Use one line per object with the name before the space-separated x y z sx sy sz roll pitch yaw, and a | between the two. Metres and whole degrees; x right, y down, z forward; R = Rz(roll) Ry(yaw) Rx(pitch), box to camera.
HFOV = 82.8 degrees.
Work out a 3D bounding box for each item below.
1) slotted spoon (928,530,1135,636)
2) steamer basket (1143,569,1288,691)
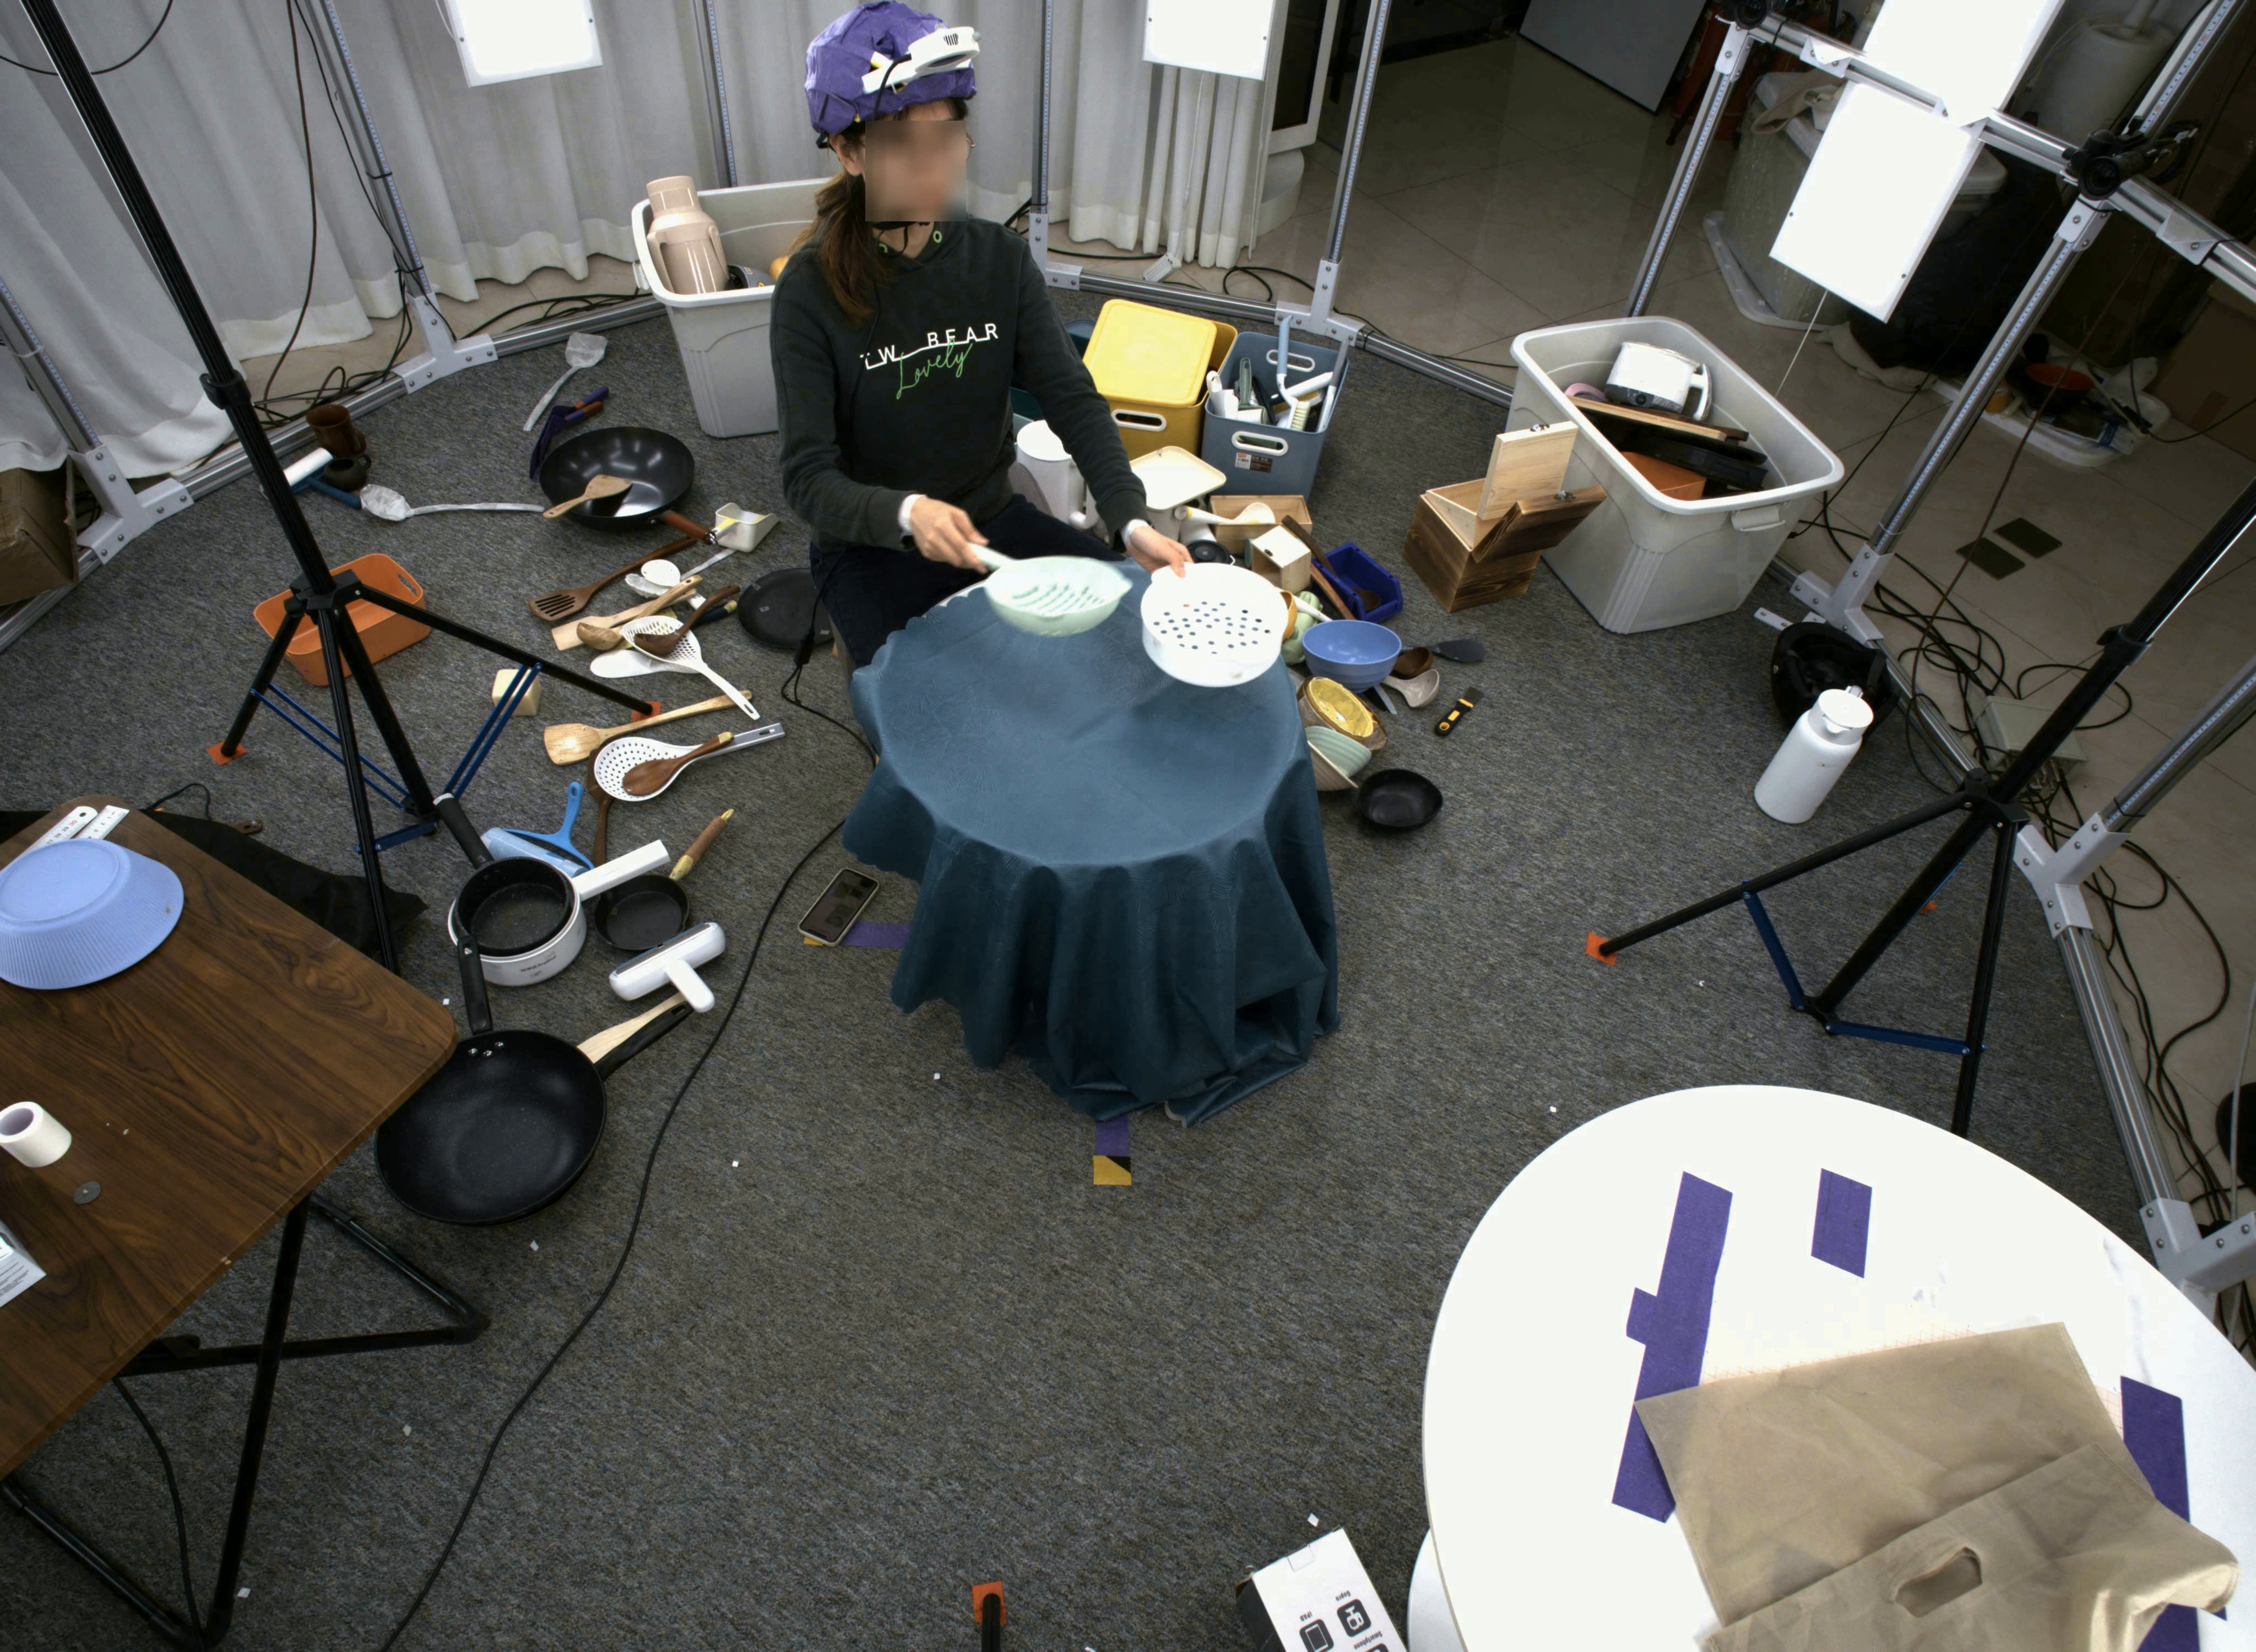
slotted spoon | -0.150 -0.330 1.662 0.170 0.073 0.365 -26 48 -34
steamer basket | 0.119 -0.271 1.788 0.203 0.067 0.235 -26 53 -24
